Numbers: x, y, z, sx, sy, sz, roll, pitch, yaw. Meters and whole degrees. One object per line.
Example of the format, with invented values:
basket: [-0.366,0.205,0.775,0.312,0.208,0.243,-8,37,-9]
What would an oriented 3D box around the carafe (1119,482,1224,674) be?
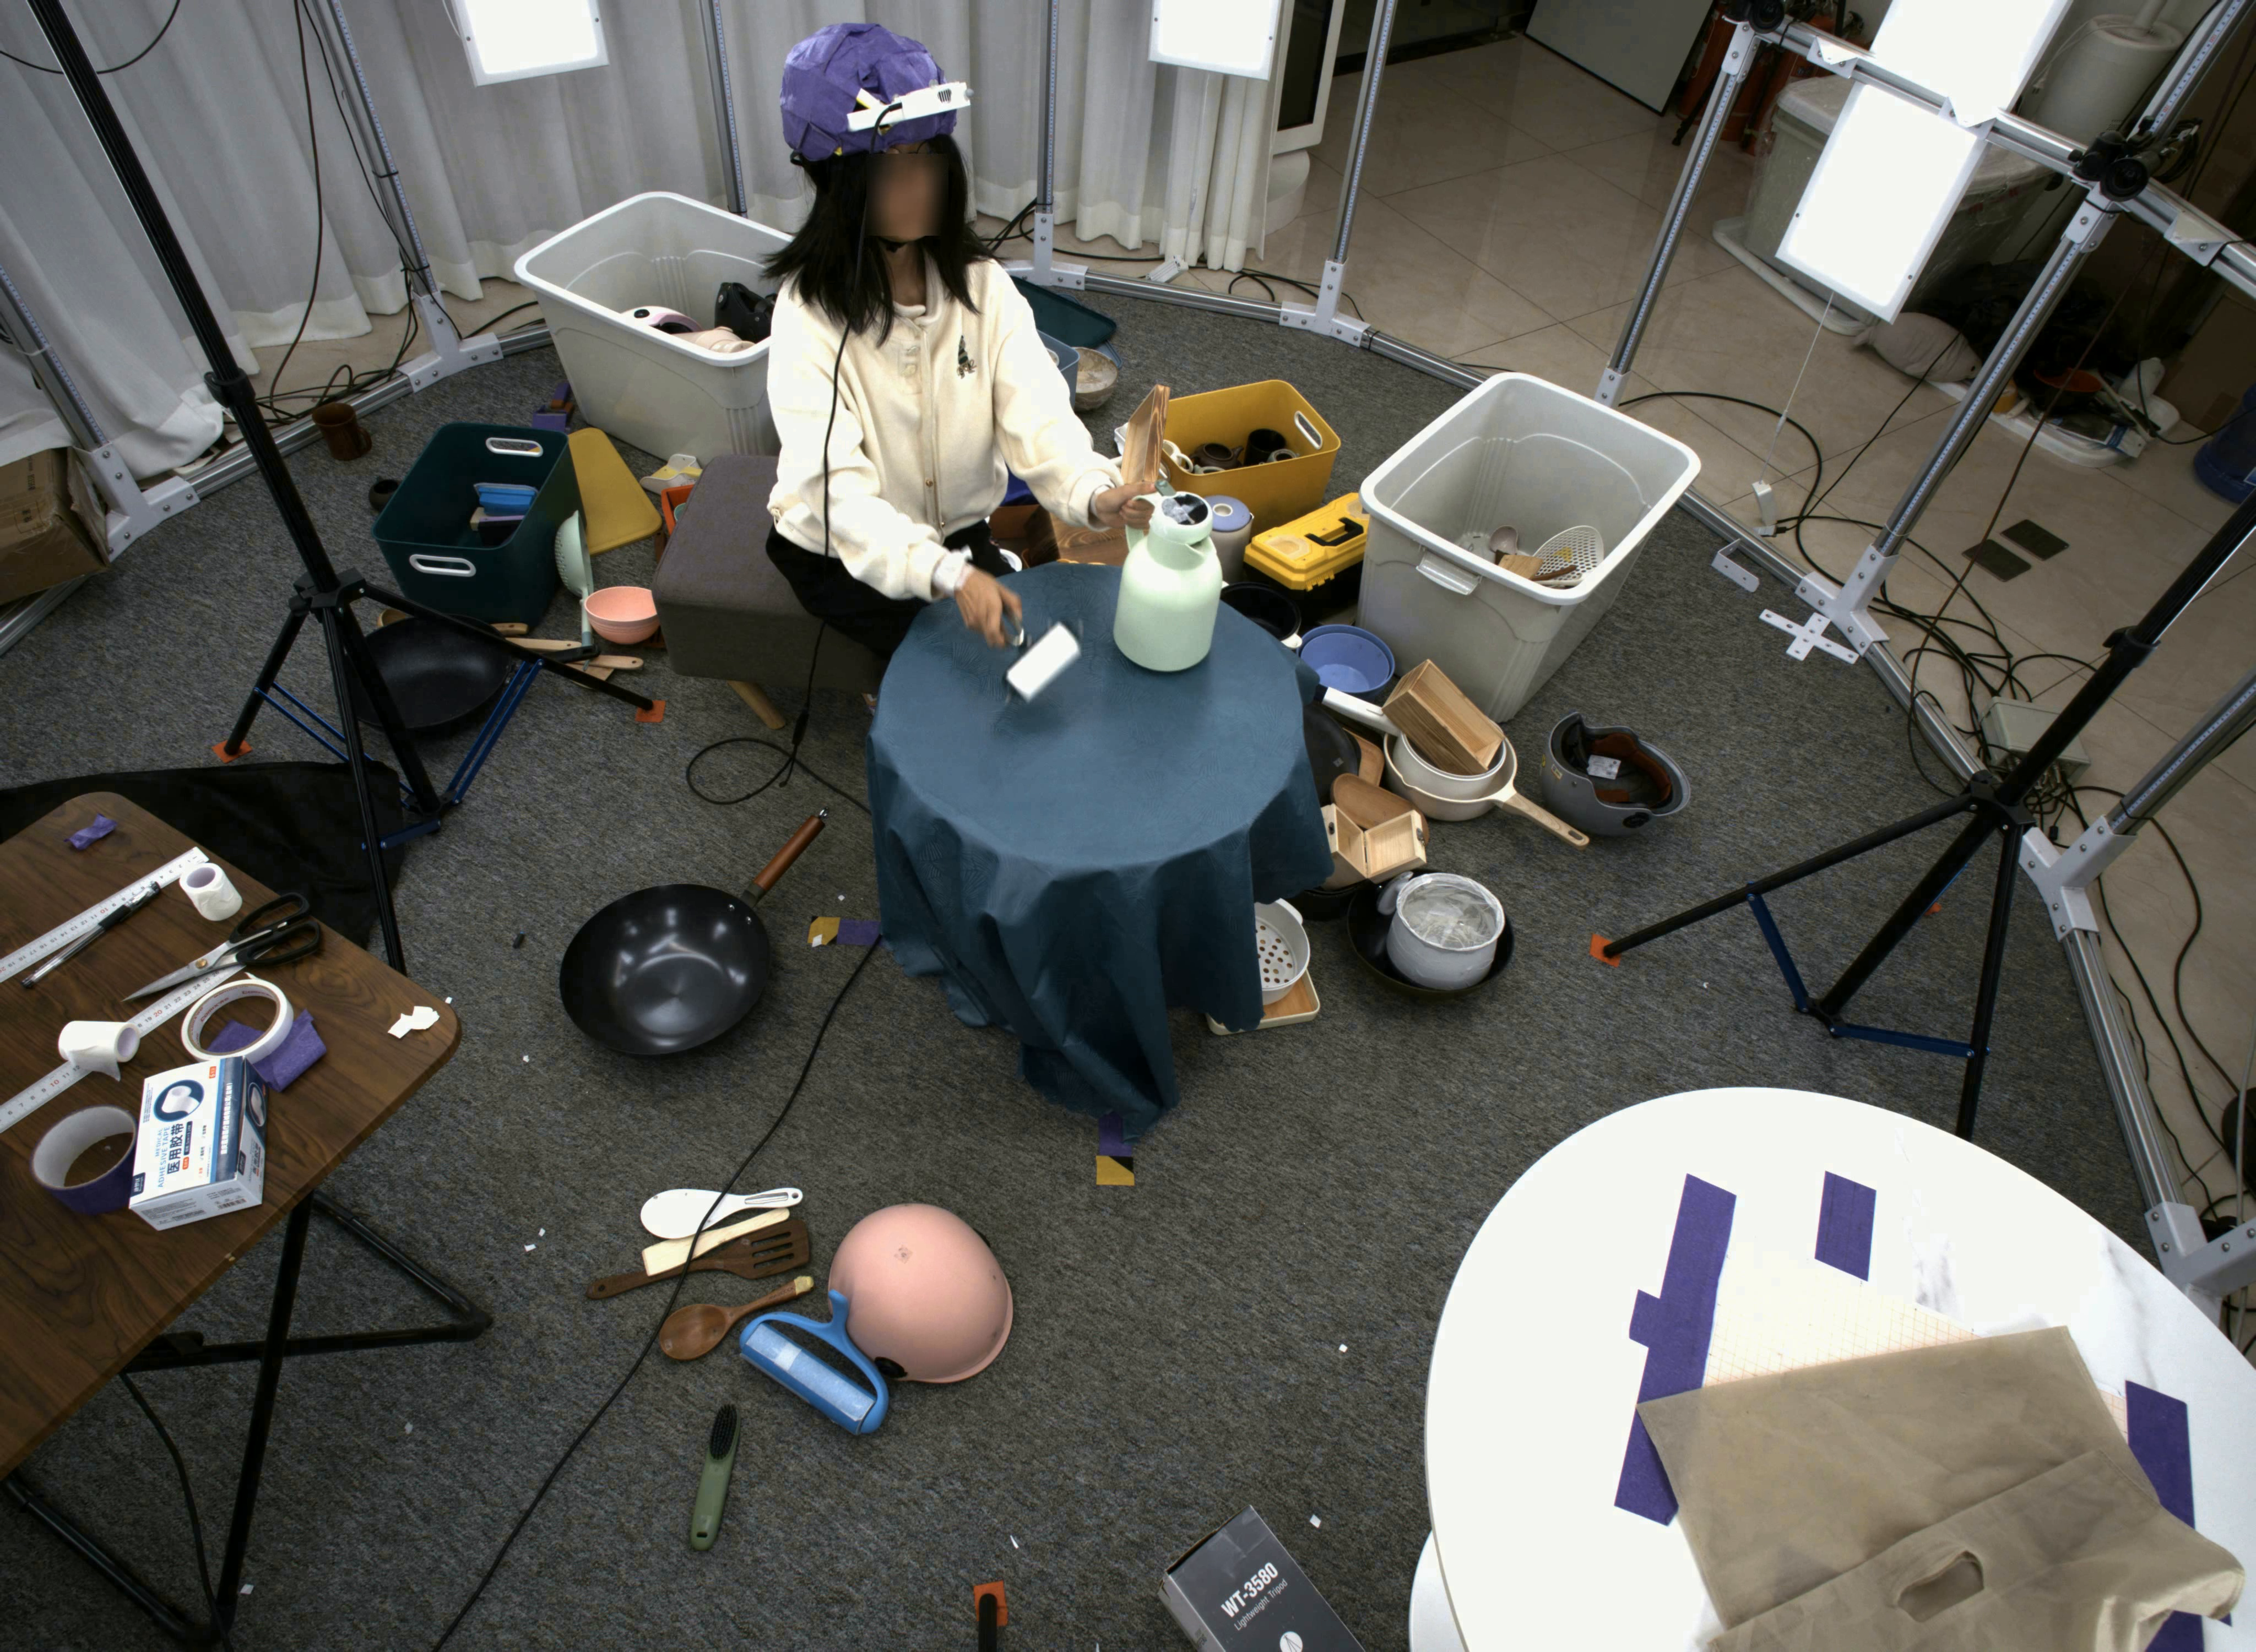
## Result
carafe: [0.058,-0.356,1.818,0.145,0.250,0.190,-24,54,-21]

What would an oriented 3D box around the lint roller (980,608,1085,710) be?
lint roller: [-0.156,-0.255,1.788,0.134,0.047,0.183,-39,63,-4]
